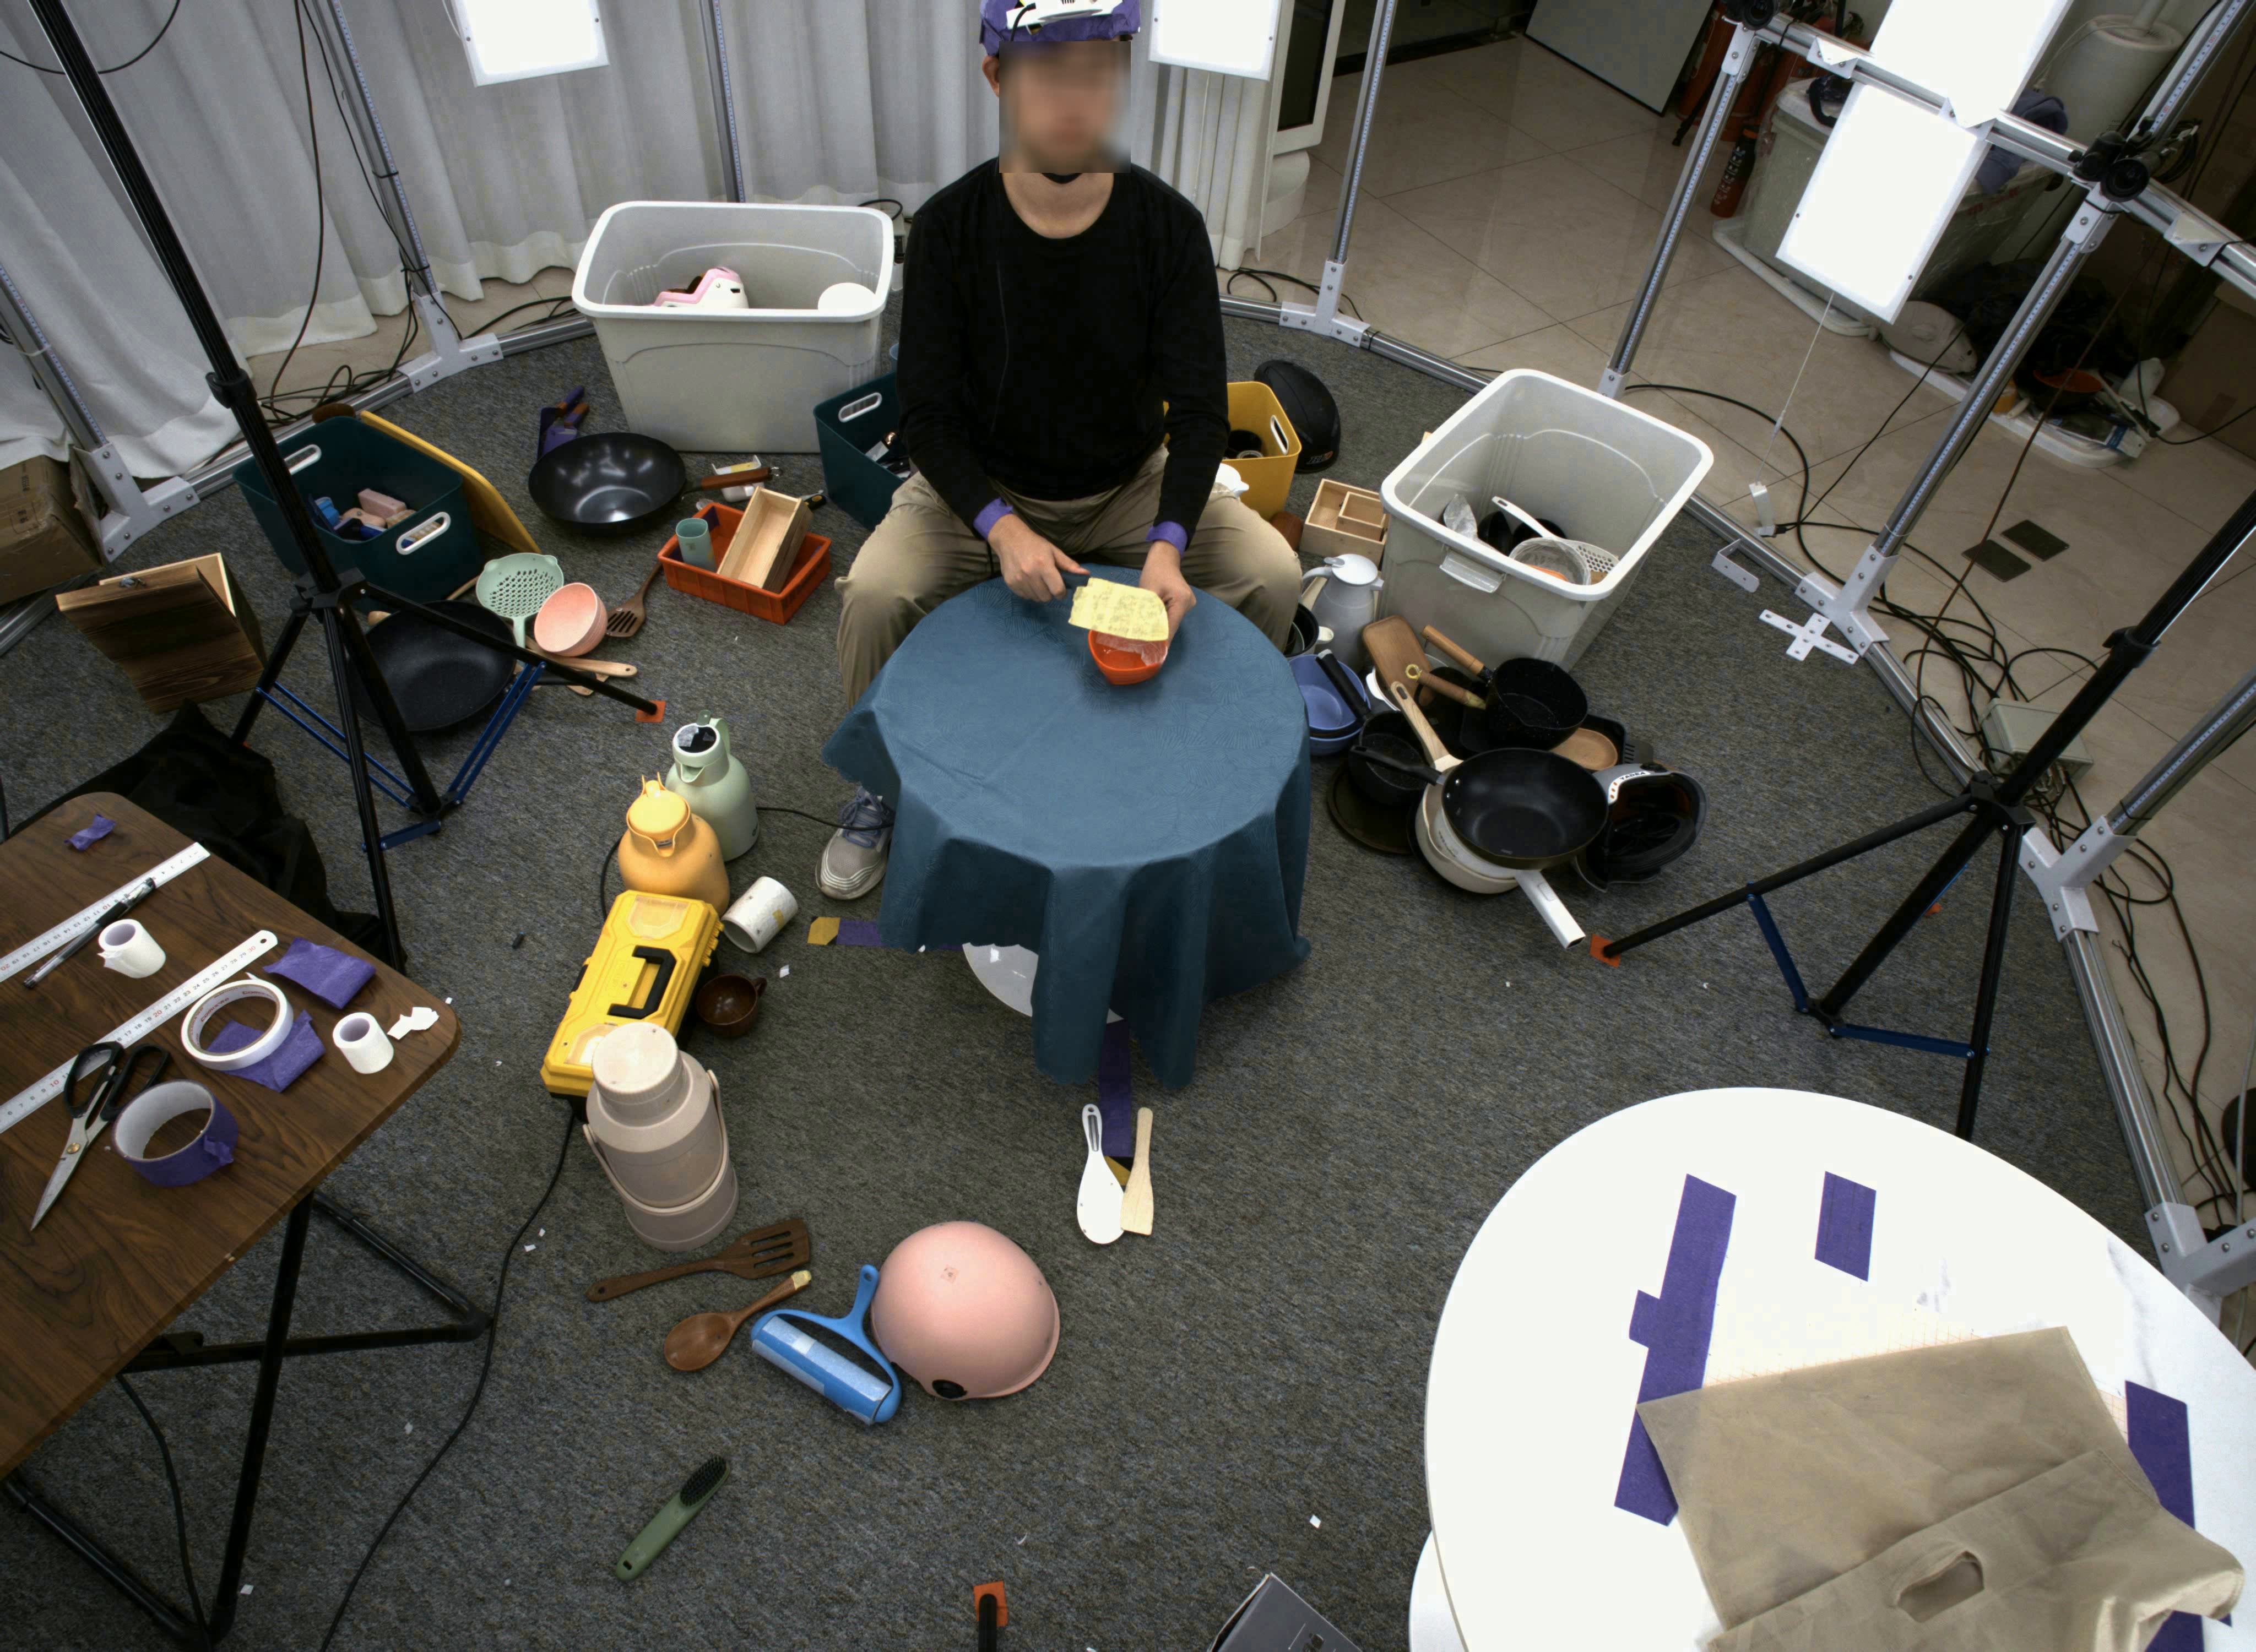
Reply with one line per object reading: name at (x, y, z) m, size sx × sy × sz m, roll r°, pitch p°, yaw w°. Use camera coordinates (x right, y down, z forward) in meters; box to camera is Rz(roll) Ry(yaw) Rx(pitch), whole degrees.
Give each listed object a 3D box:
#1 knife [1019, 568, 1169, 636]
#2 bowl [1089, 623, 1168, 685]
knife at (-0.053, -0.326, 1.860) m, size 0.293 × 0.027 × 0.081 m, roll 22°, pitch 91°, yaw 36°
bowl at (-0.001, -0.247, 1.849) m, size 0.119 × 0.050 × 0.122 m, roll 1°, pitch 51°, yaw -1°
